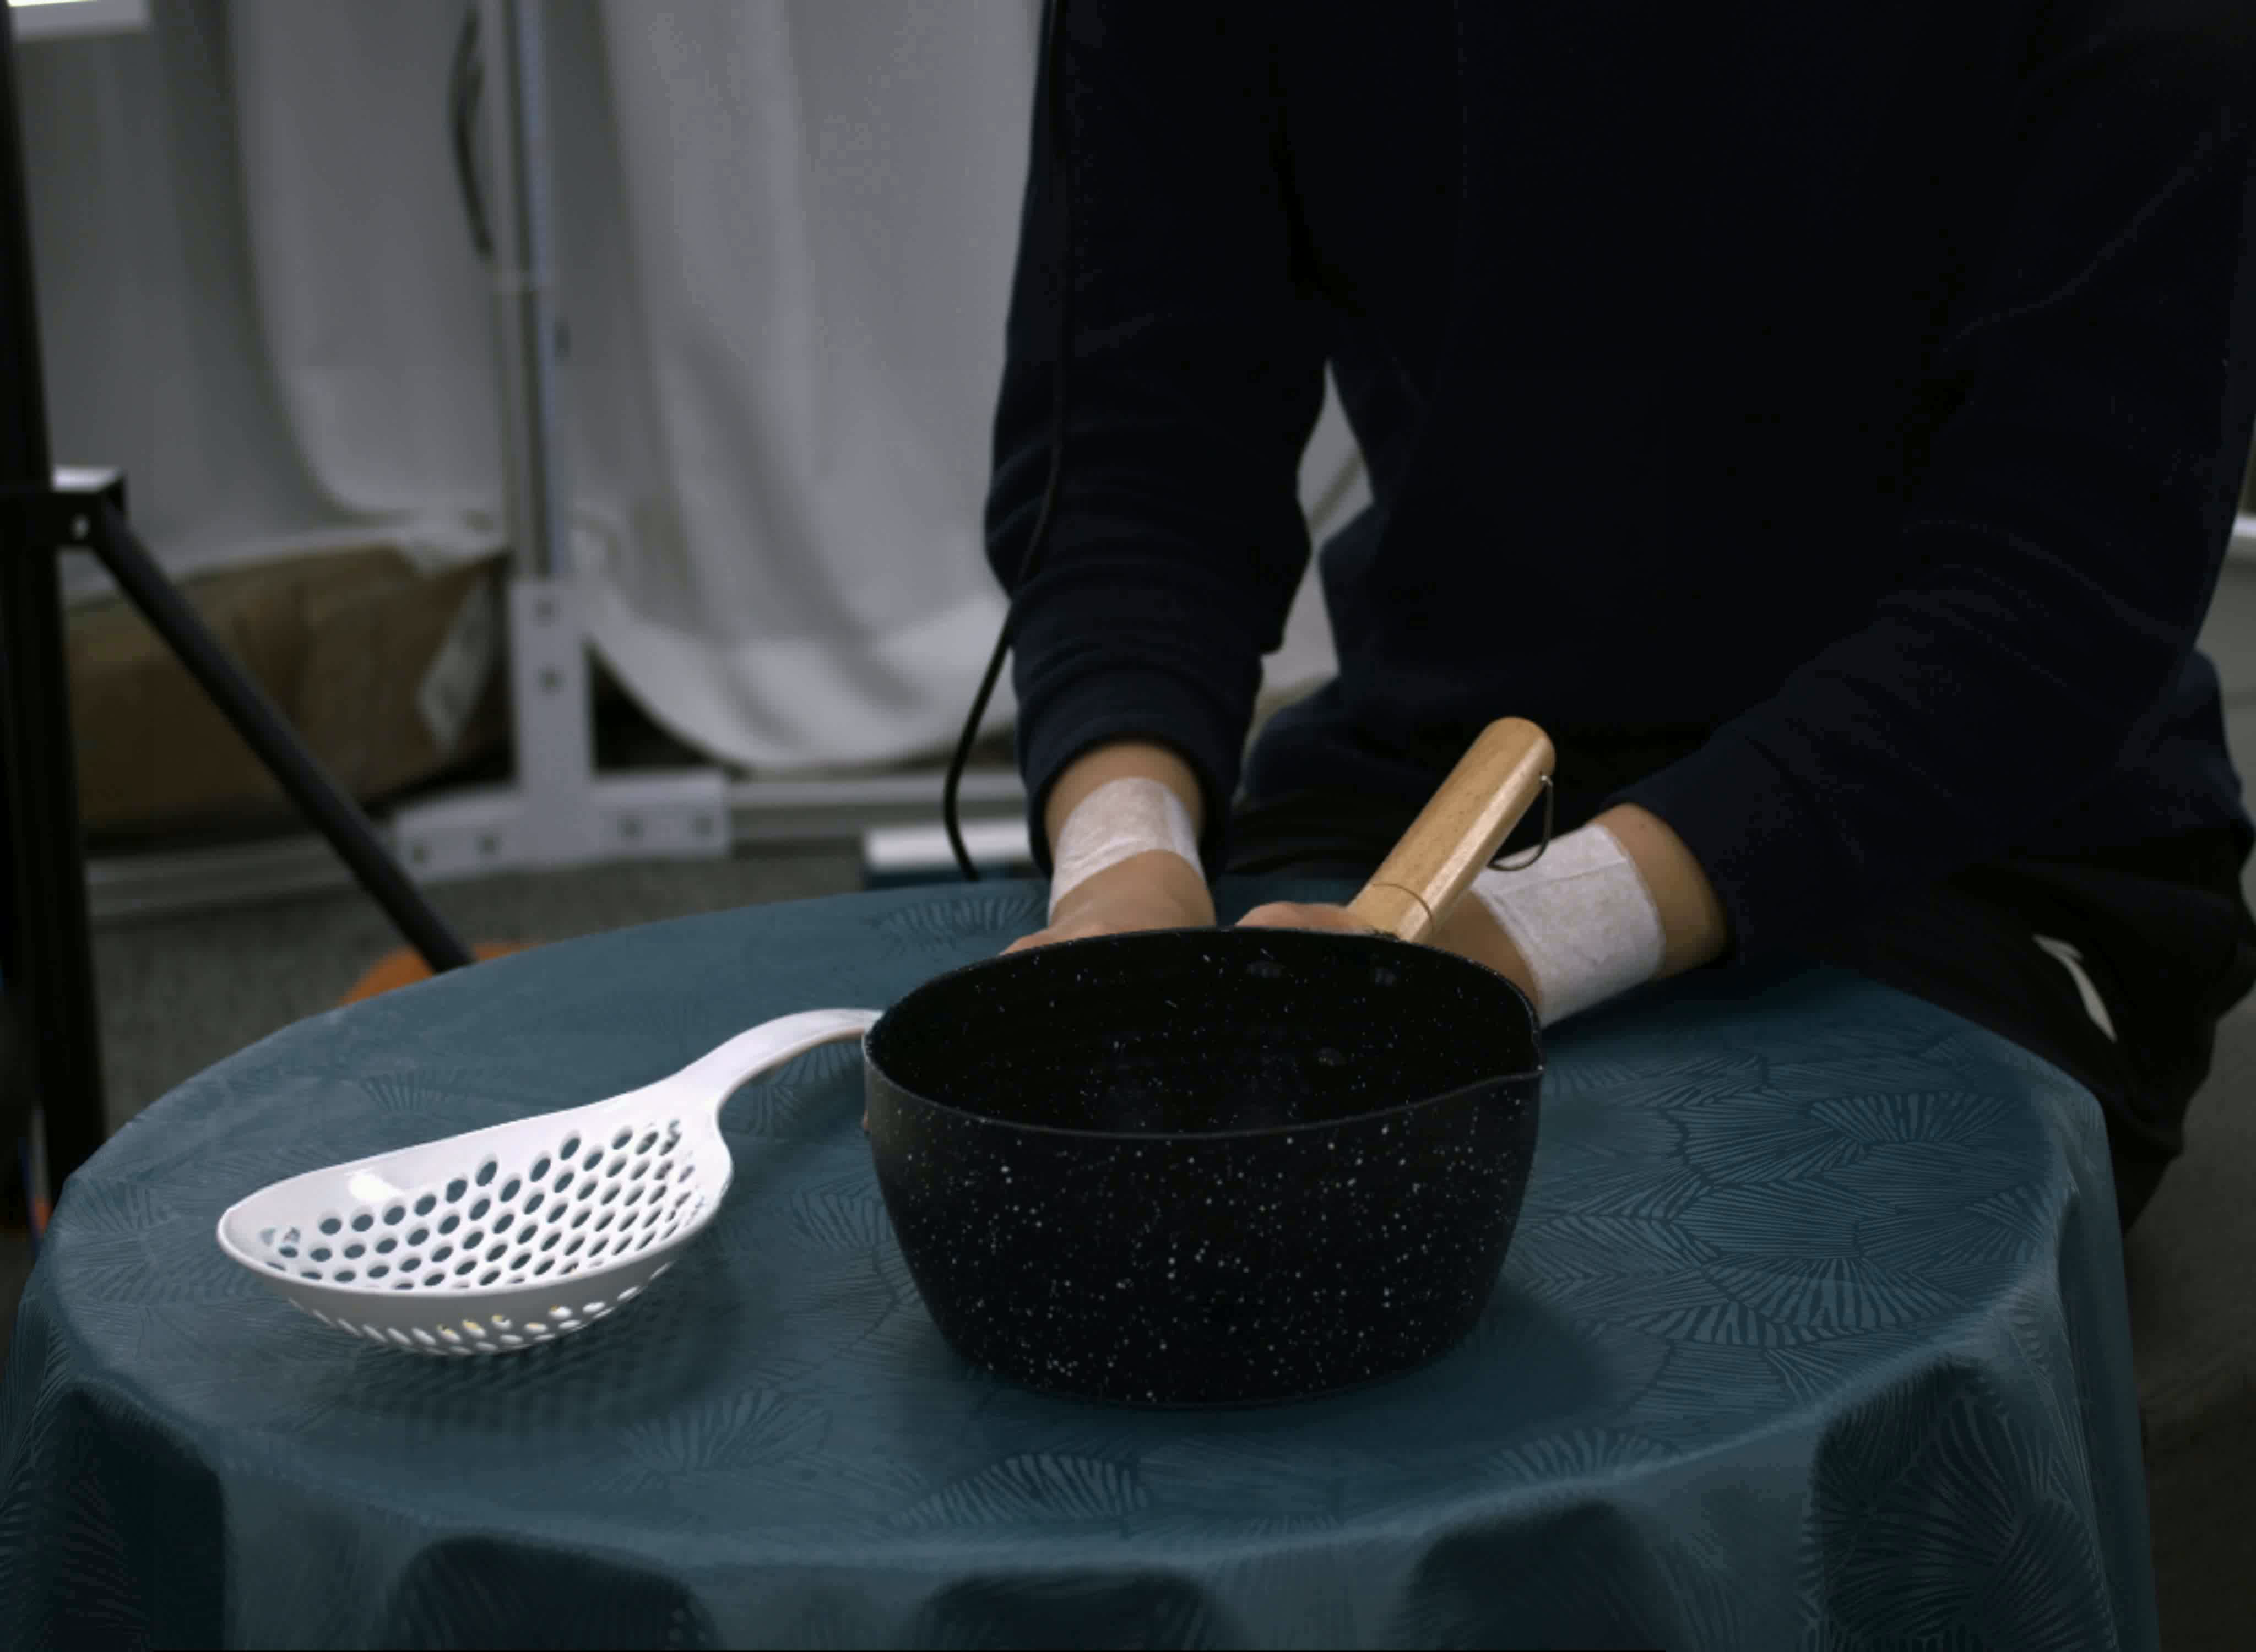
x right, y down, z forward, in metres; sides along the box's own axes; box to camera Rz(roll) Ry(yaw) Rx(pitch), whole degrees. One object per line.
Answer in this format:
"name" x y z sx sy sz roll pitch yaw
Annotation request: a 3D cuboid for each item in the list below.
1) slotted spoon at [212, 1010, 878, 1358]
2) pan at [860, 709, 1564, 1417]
"slotted spoon" -0.138 0.091 1.561 0.138 0.050 0.343 2 18 23
"pan" 0.052 0.062 1.514 0.210 0.108 0.338 3 18 24
